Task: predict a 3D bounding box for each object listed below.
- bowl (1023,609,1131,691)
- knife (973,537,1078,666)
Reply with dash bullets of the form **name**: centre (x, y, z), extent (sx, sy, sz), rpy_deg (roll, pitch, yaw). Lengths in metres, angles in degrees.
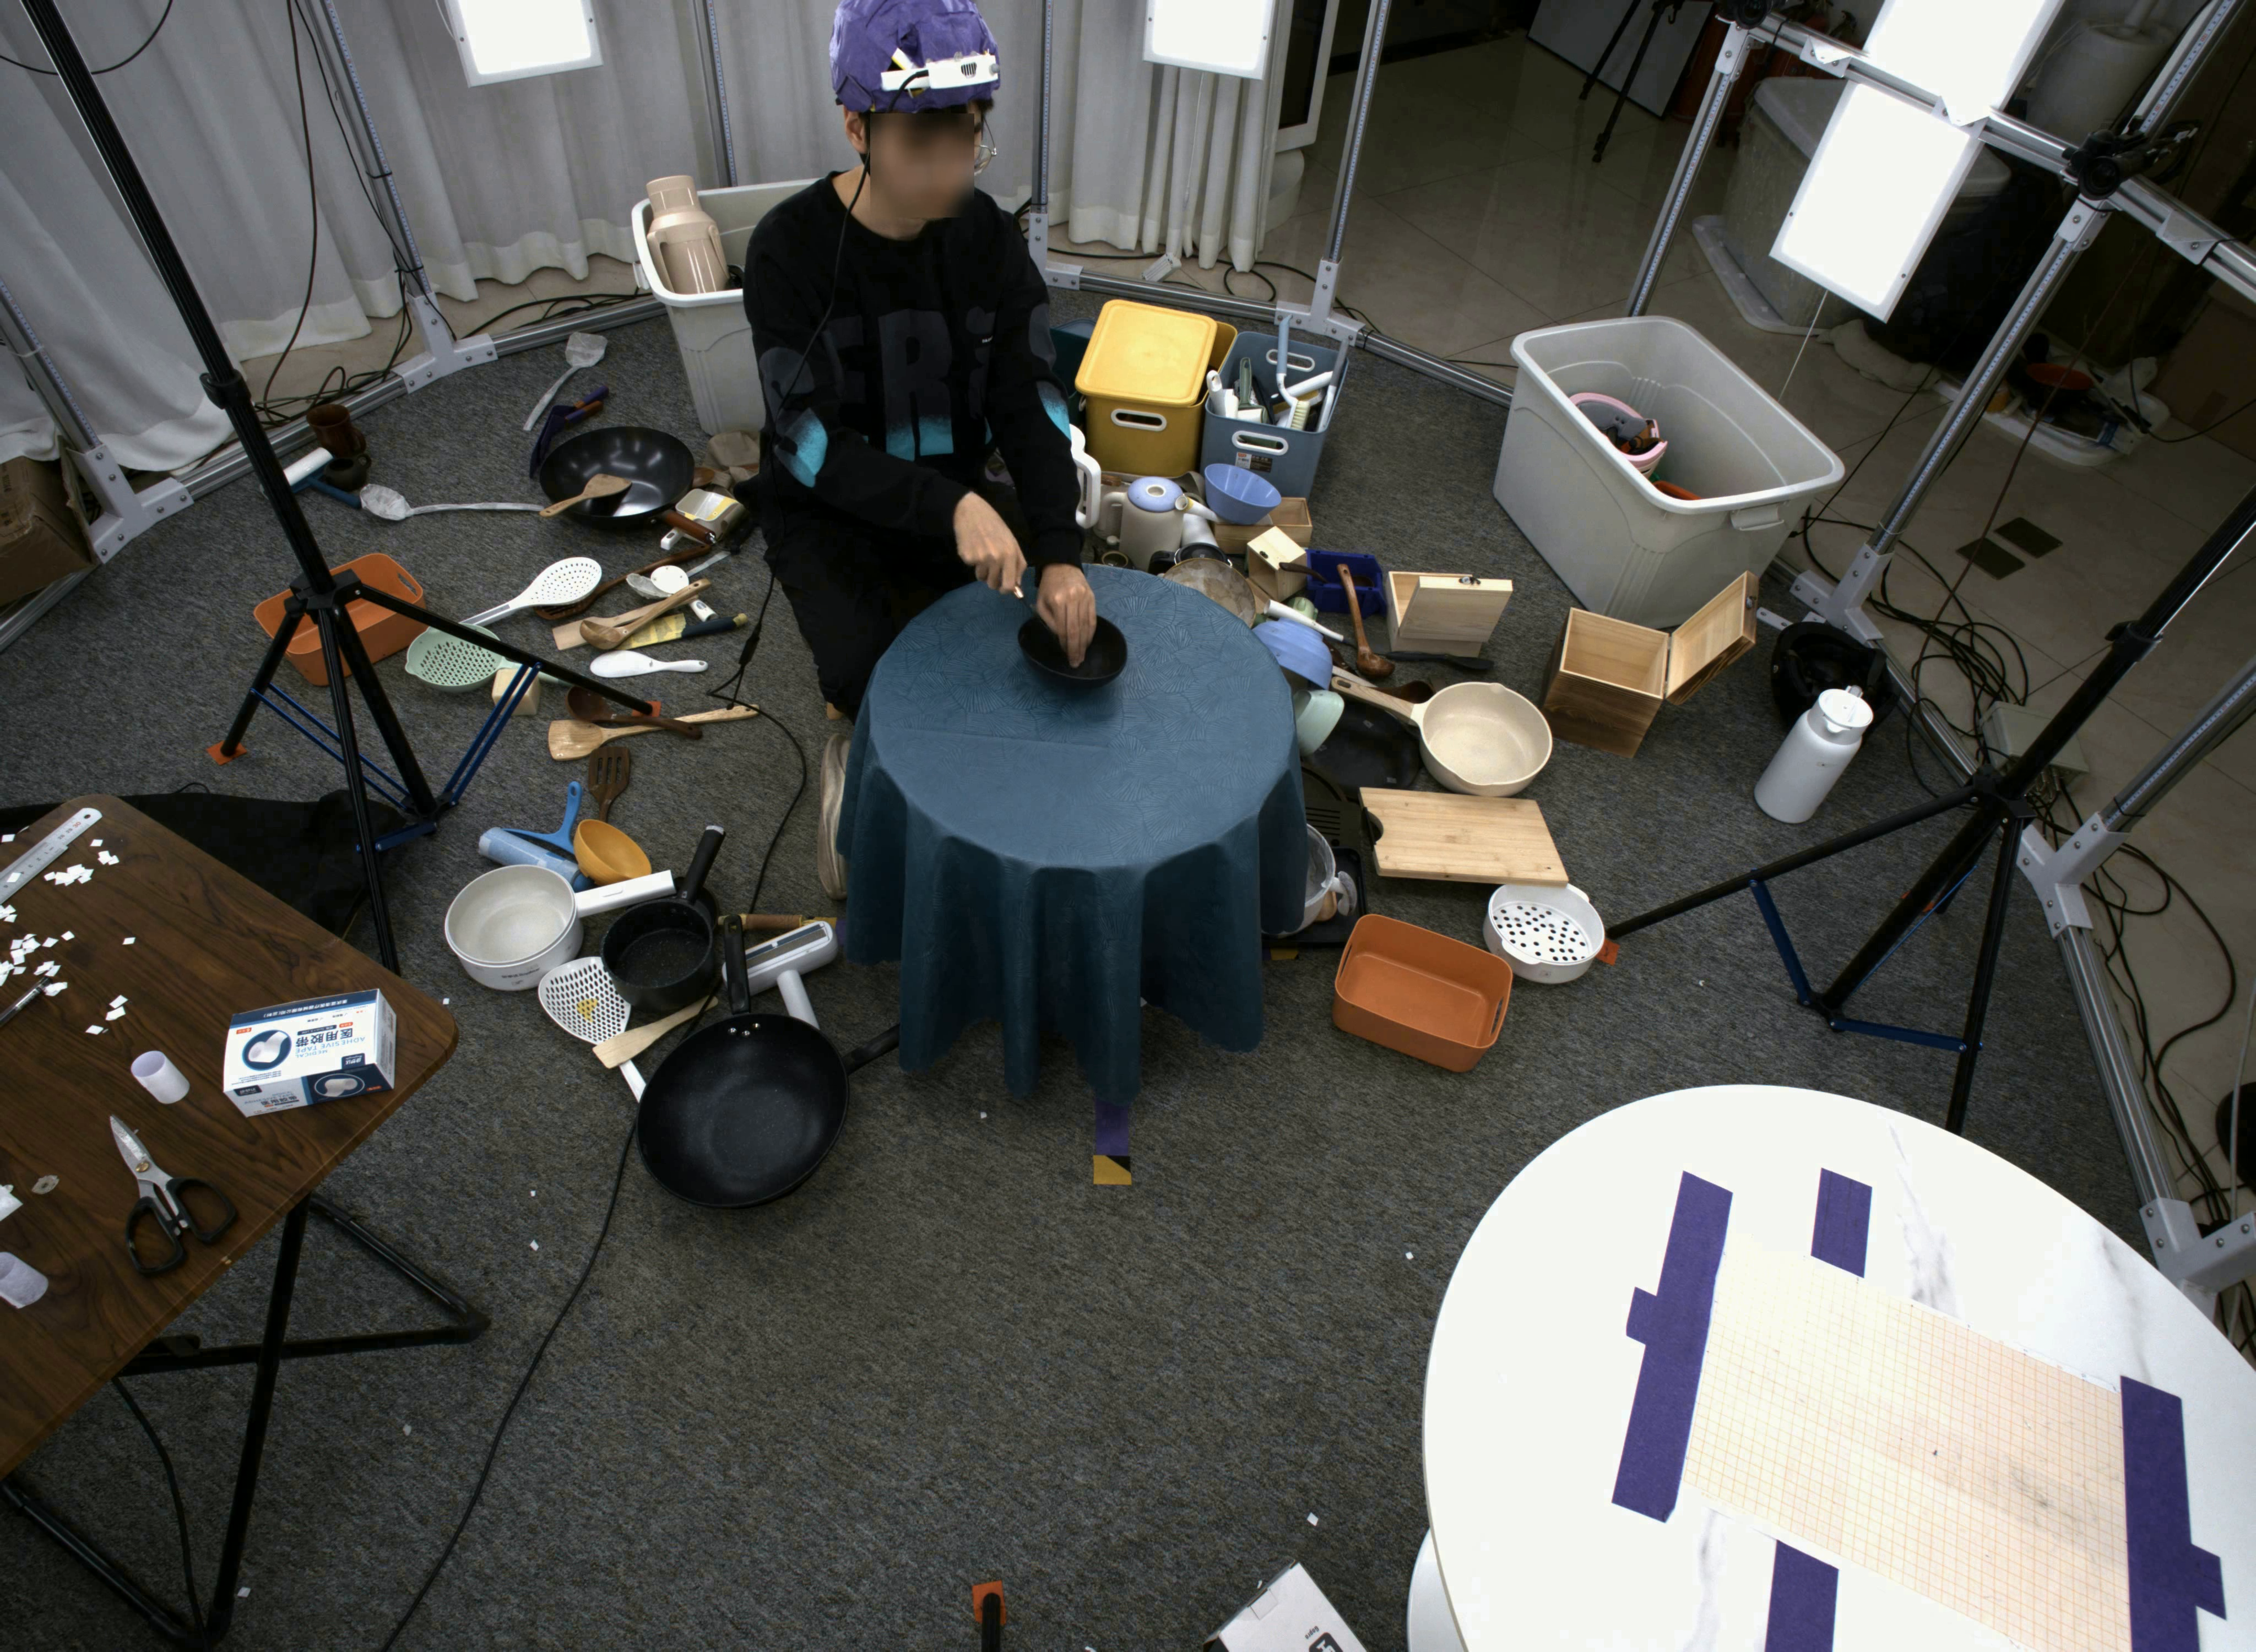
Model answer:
- **bowl**: centre (-0.075, -0.240, 1.830), extent (0.172, 0.065, 0.139), rpy_deg (31, 54, 24)
- **knife**: centre (-0.142, -0.314, 1.802), extent (0.017, 0.026, 0.225), rpy_deg (-39, 89, -3)
